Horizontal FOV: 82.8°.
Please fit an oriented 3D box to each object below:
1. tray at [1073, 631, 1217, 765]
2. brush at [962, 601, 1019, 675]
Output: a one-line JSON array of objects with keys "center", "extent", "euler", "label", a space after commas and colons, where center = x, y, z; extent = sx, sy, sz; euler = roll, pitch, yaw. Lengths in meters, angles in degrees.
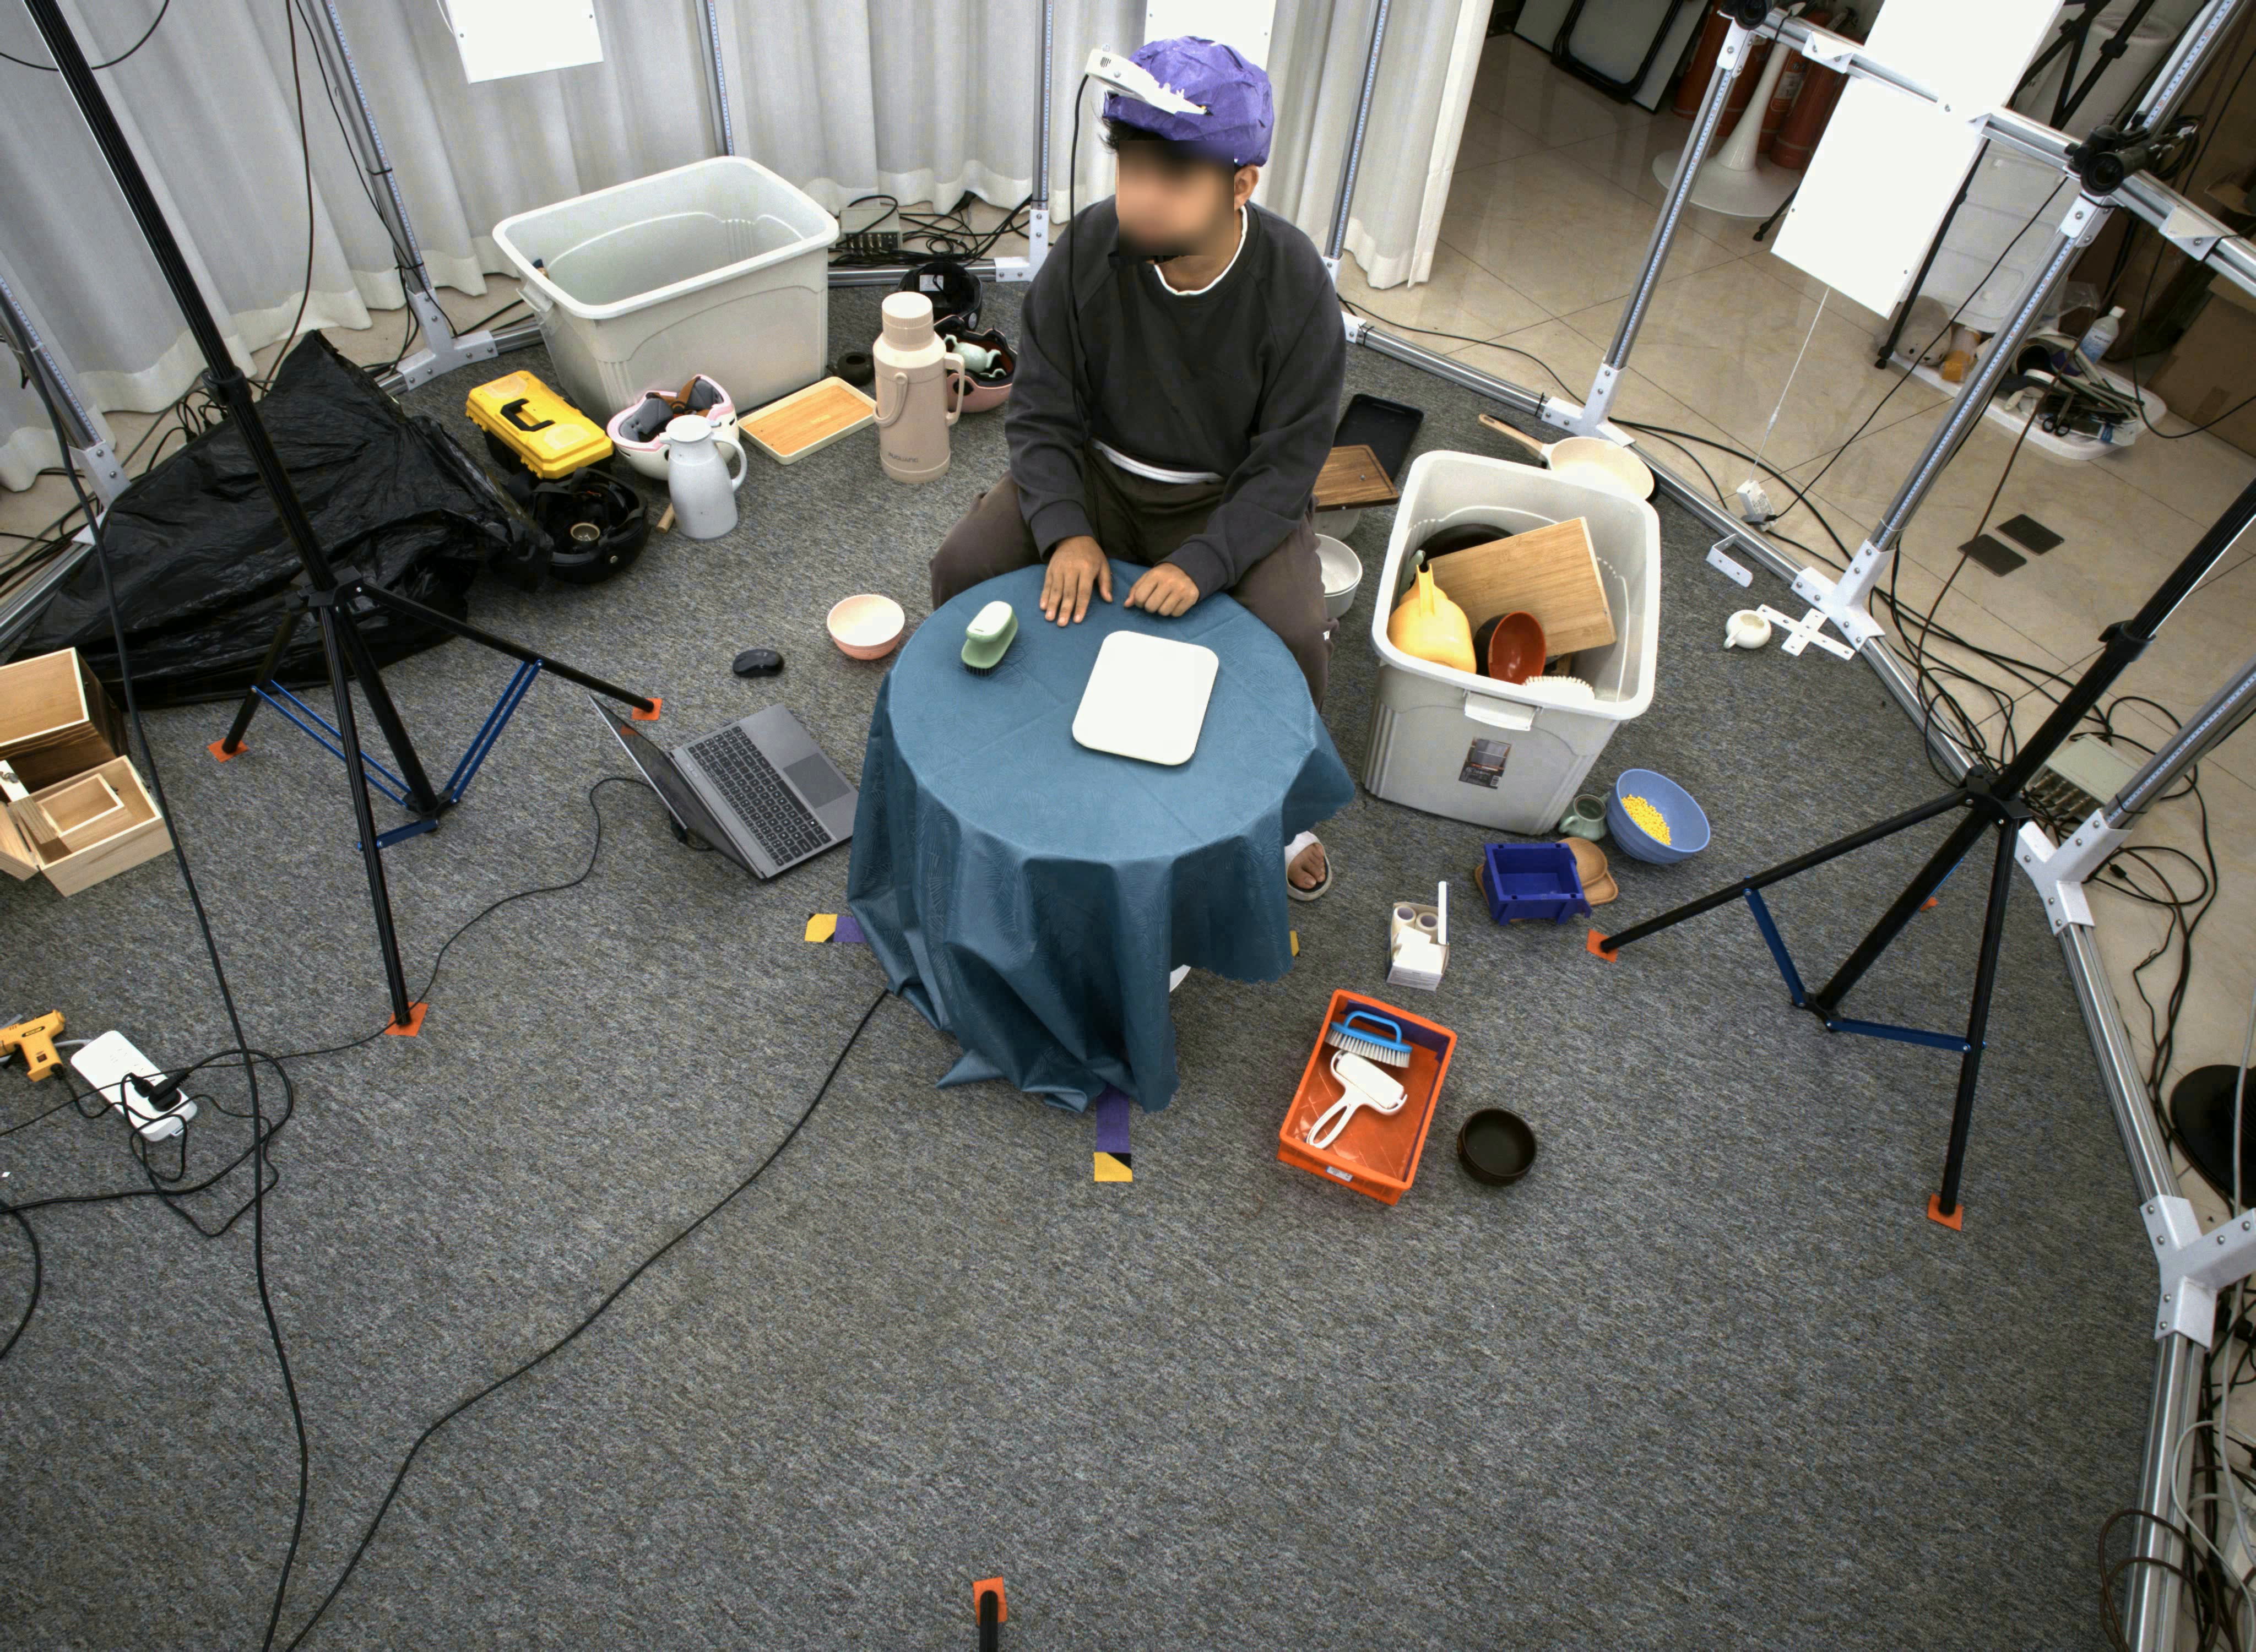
[{"center": [0.027, -0.183, 1.814], "extent": [0.171, 0.017, 0.245], "euler": [13, 49, 6], "label": "tray"}, {"center": [-0.198, -0.272, 1.852], "extent": [0.060, 0.074, 0.125], "euler": [16, 36, 8], "label": "brush"}]
